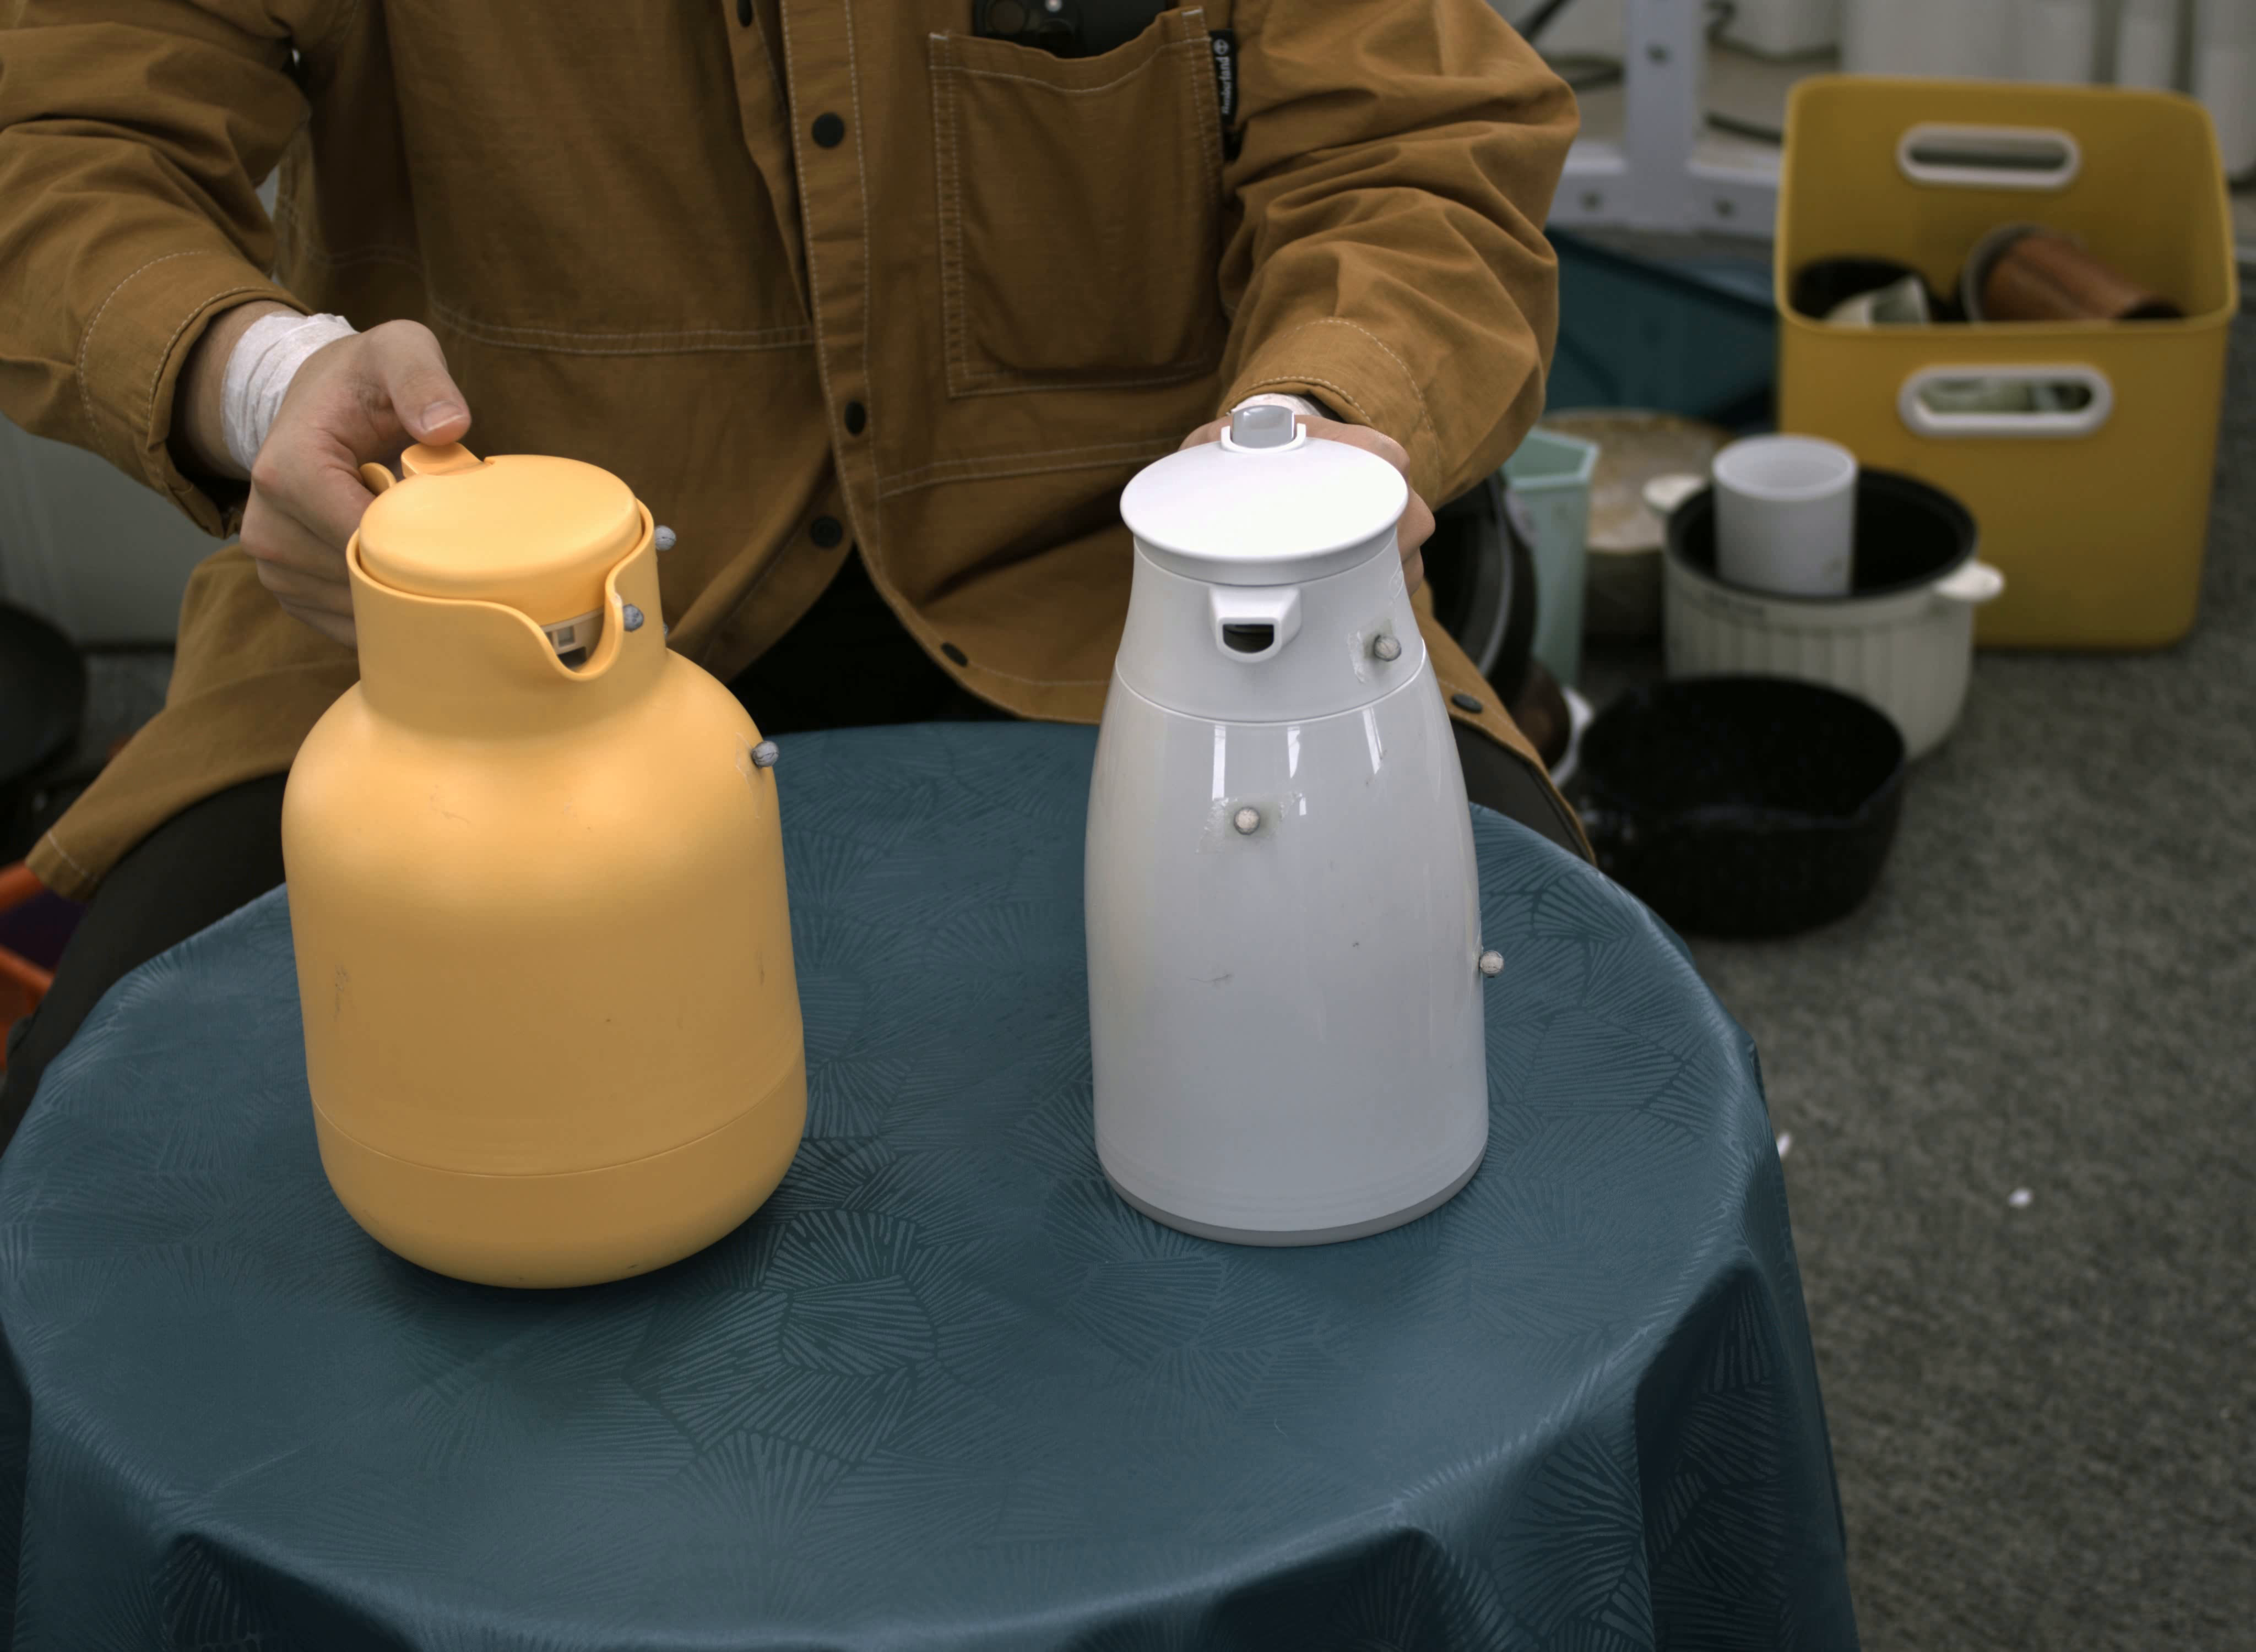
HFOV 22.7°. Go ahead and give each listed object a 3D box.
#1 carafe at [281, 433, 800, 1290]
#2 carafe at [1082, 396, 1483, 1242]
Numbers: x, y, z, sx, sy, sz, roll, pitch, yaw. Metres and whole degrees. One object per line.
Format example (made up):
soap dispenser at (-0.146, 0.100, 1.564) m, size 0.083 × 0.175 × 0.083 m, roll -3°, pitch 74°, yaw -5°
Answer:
carafe at (-0.199, 0.002, 1.832) m, size 0.164 × 0.257 × 0.204 m, roll -12°, pitch 29°, yaw -22°
carafe at (0.049, -0.013, 1.846) m, size 0.132 × 0.246 × 0.170 m, roll 0°, pitch 26°, yaw 6°
